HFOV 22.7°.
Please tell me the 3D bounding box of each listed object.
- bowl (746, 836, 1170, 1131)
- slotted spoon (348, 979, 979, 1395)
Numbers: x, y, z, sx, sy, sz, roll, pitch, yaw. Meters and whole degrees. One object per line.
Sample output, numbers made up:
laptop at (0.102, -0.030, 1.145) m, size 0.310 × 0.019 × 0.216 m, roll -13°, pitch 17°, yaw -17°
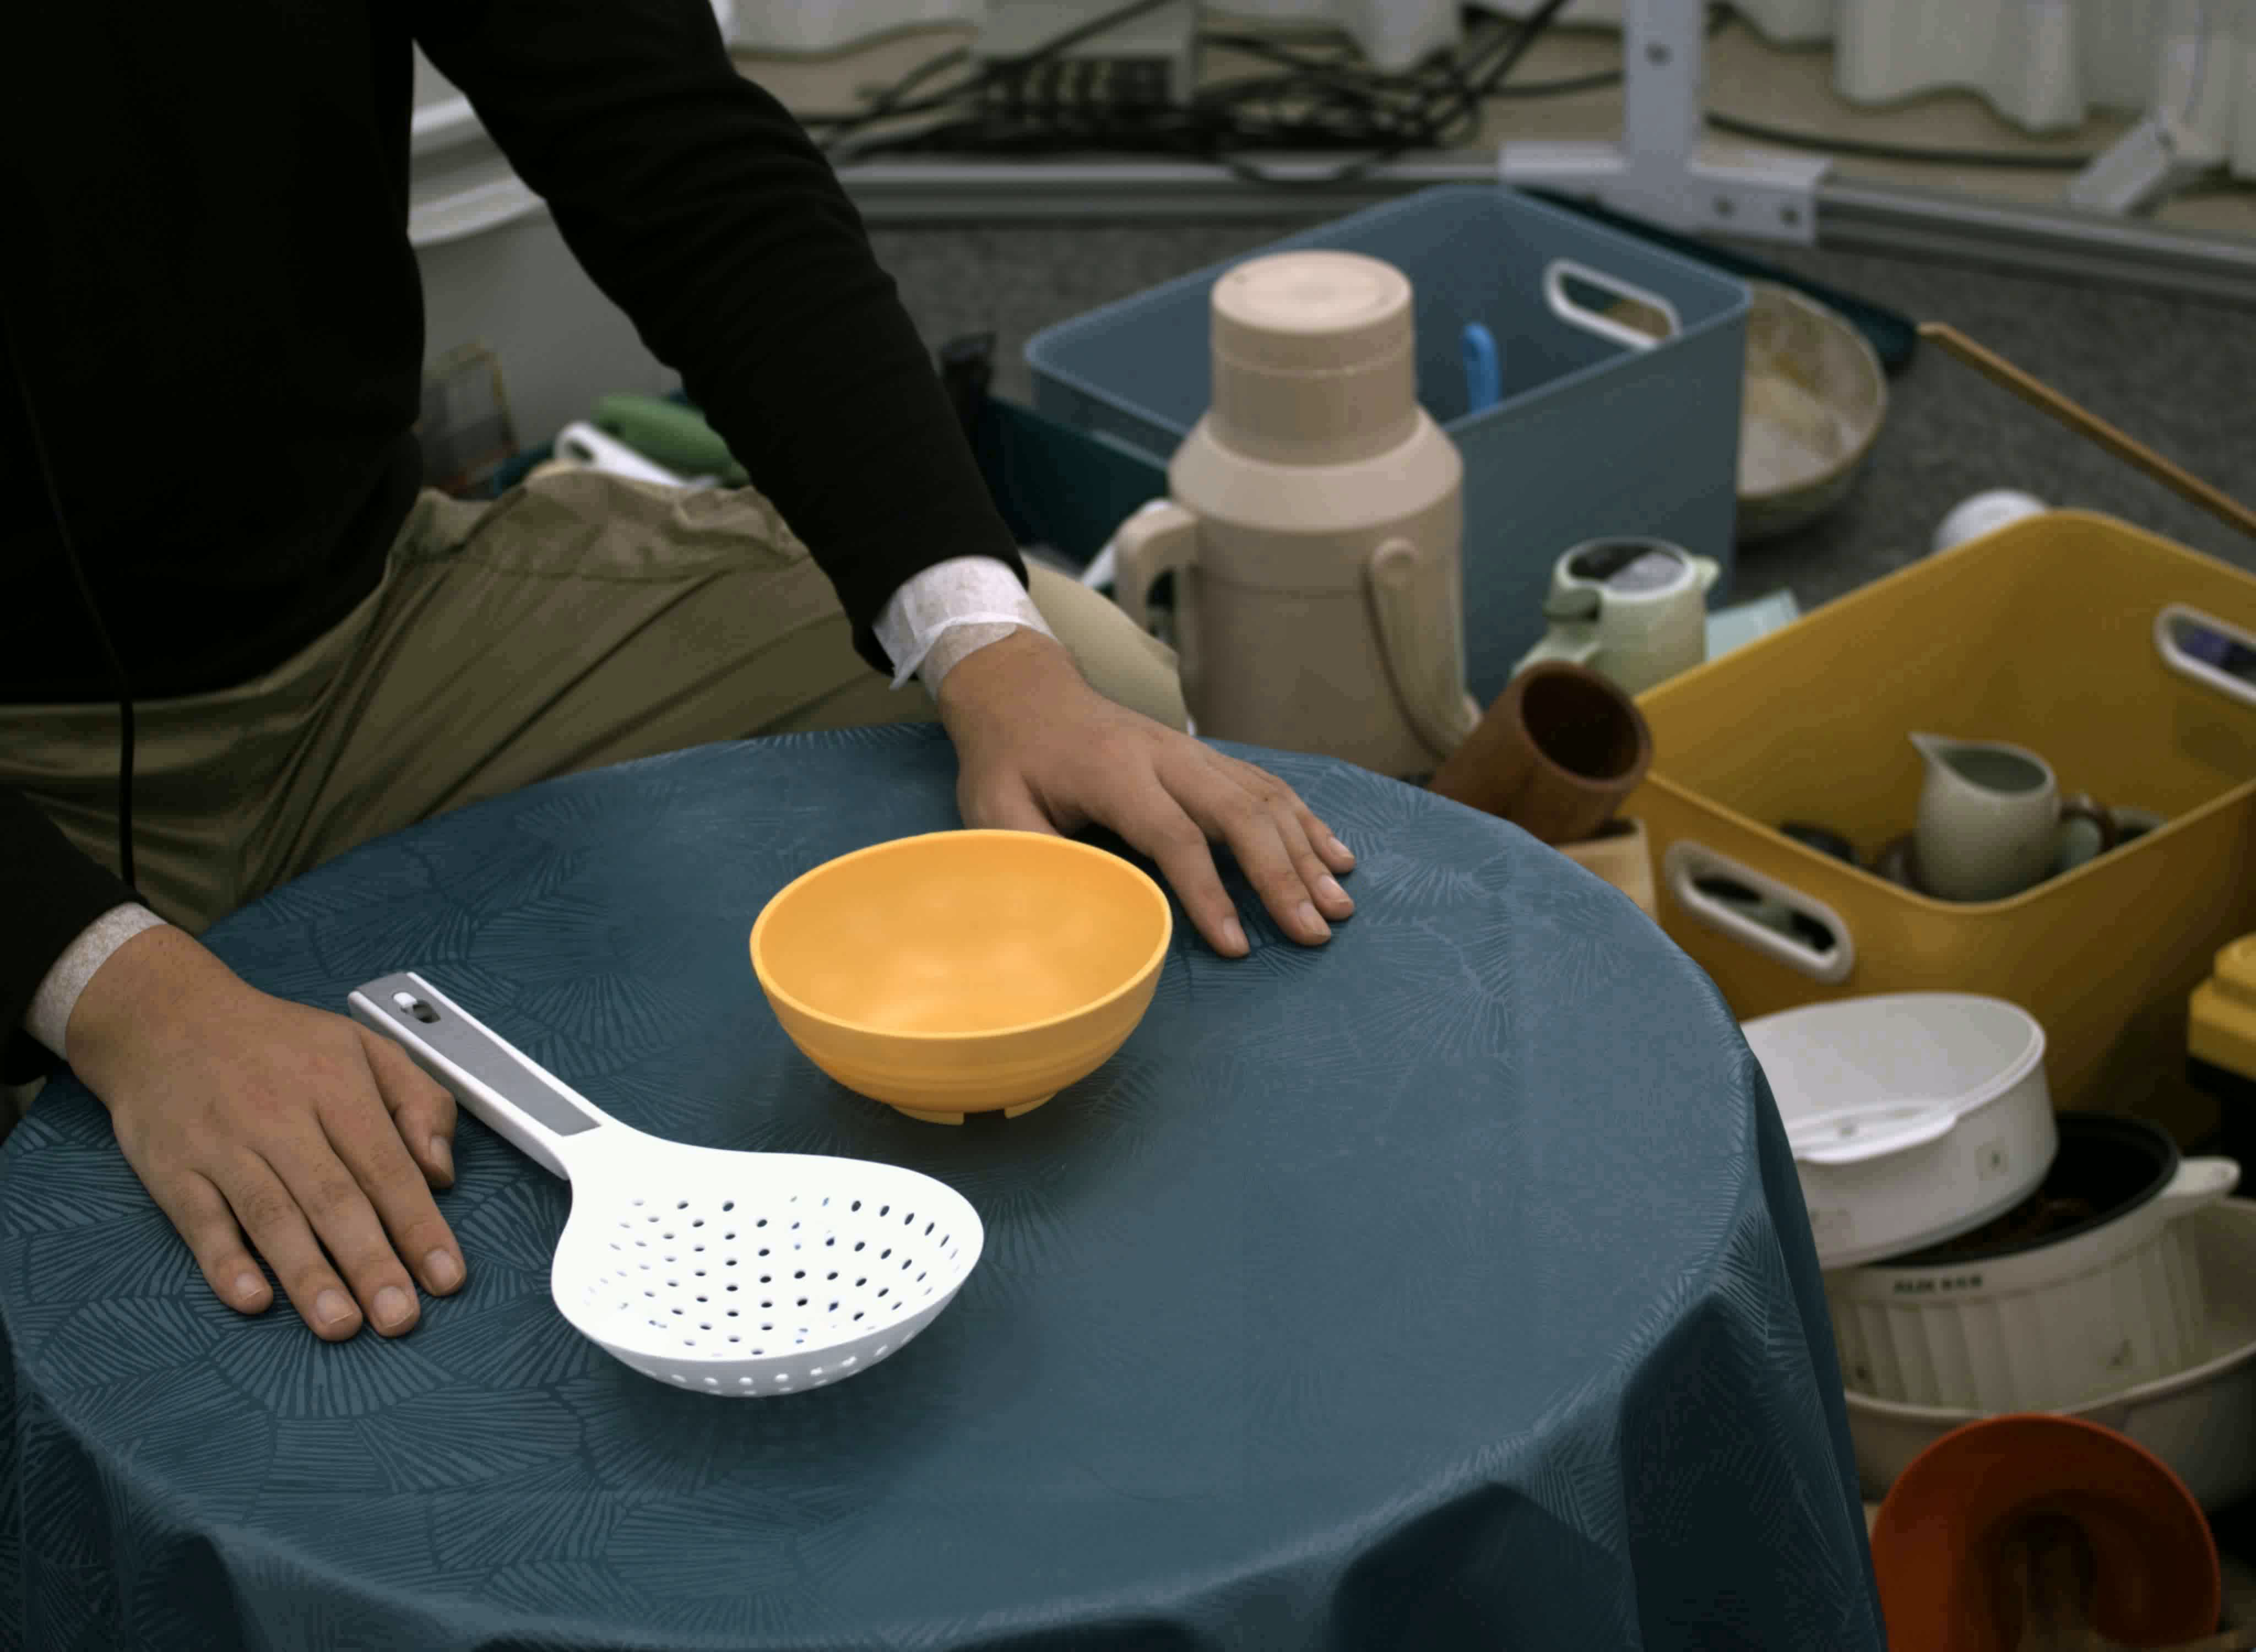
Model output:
bowl at (-0.057, 0.062, 1.921) m, size 0.144 × 0.059 × 0.147 m, roll 0°, pitch 27°, yaw 1°
slotted spoon at (-0.172, 0.111, 1.849) m, size 0.137 × 0.045 × 0.350 m, roll -18°, pitch 30°, yaw -28°
